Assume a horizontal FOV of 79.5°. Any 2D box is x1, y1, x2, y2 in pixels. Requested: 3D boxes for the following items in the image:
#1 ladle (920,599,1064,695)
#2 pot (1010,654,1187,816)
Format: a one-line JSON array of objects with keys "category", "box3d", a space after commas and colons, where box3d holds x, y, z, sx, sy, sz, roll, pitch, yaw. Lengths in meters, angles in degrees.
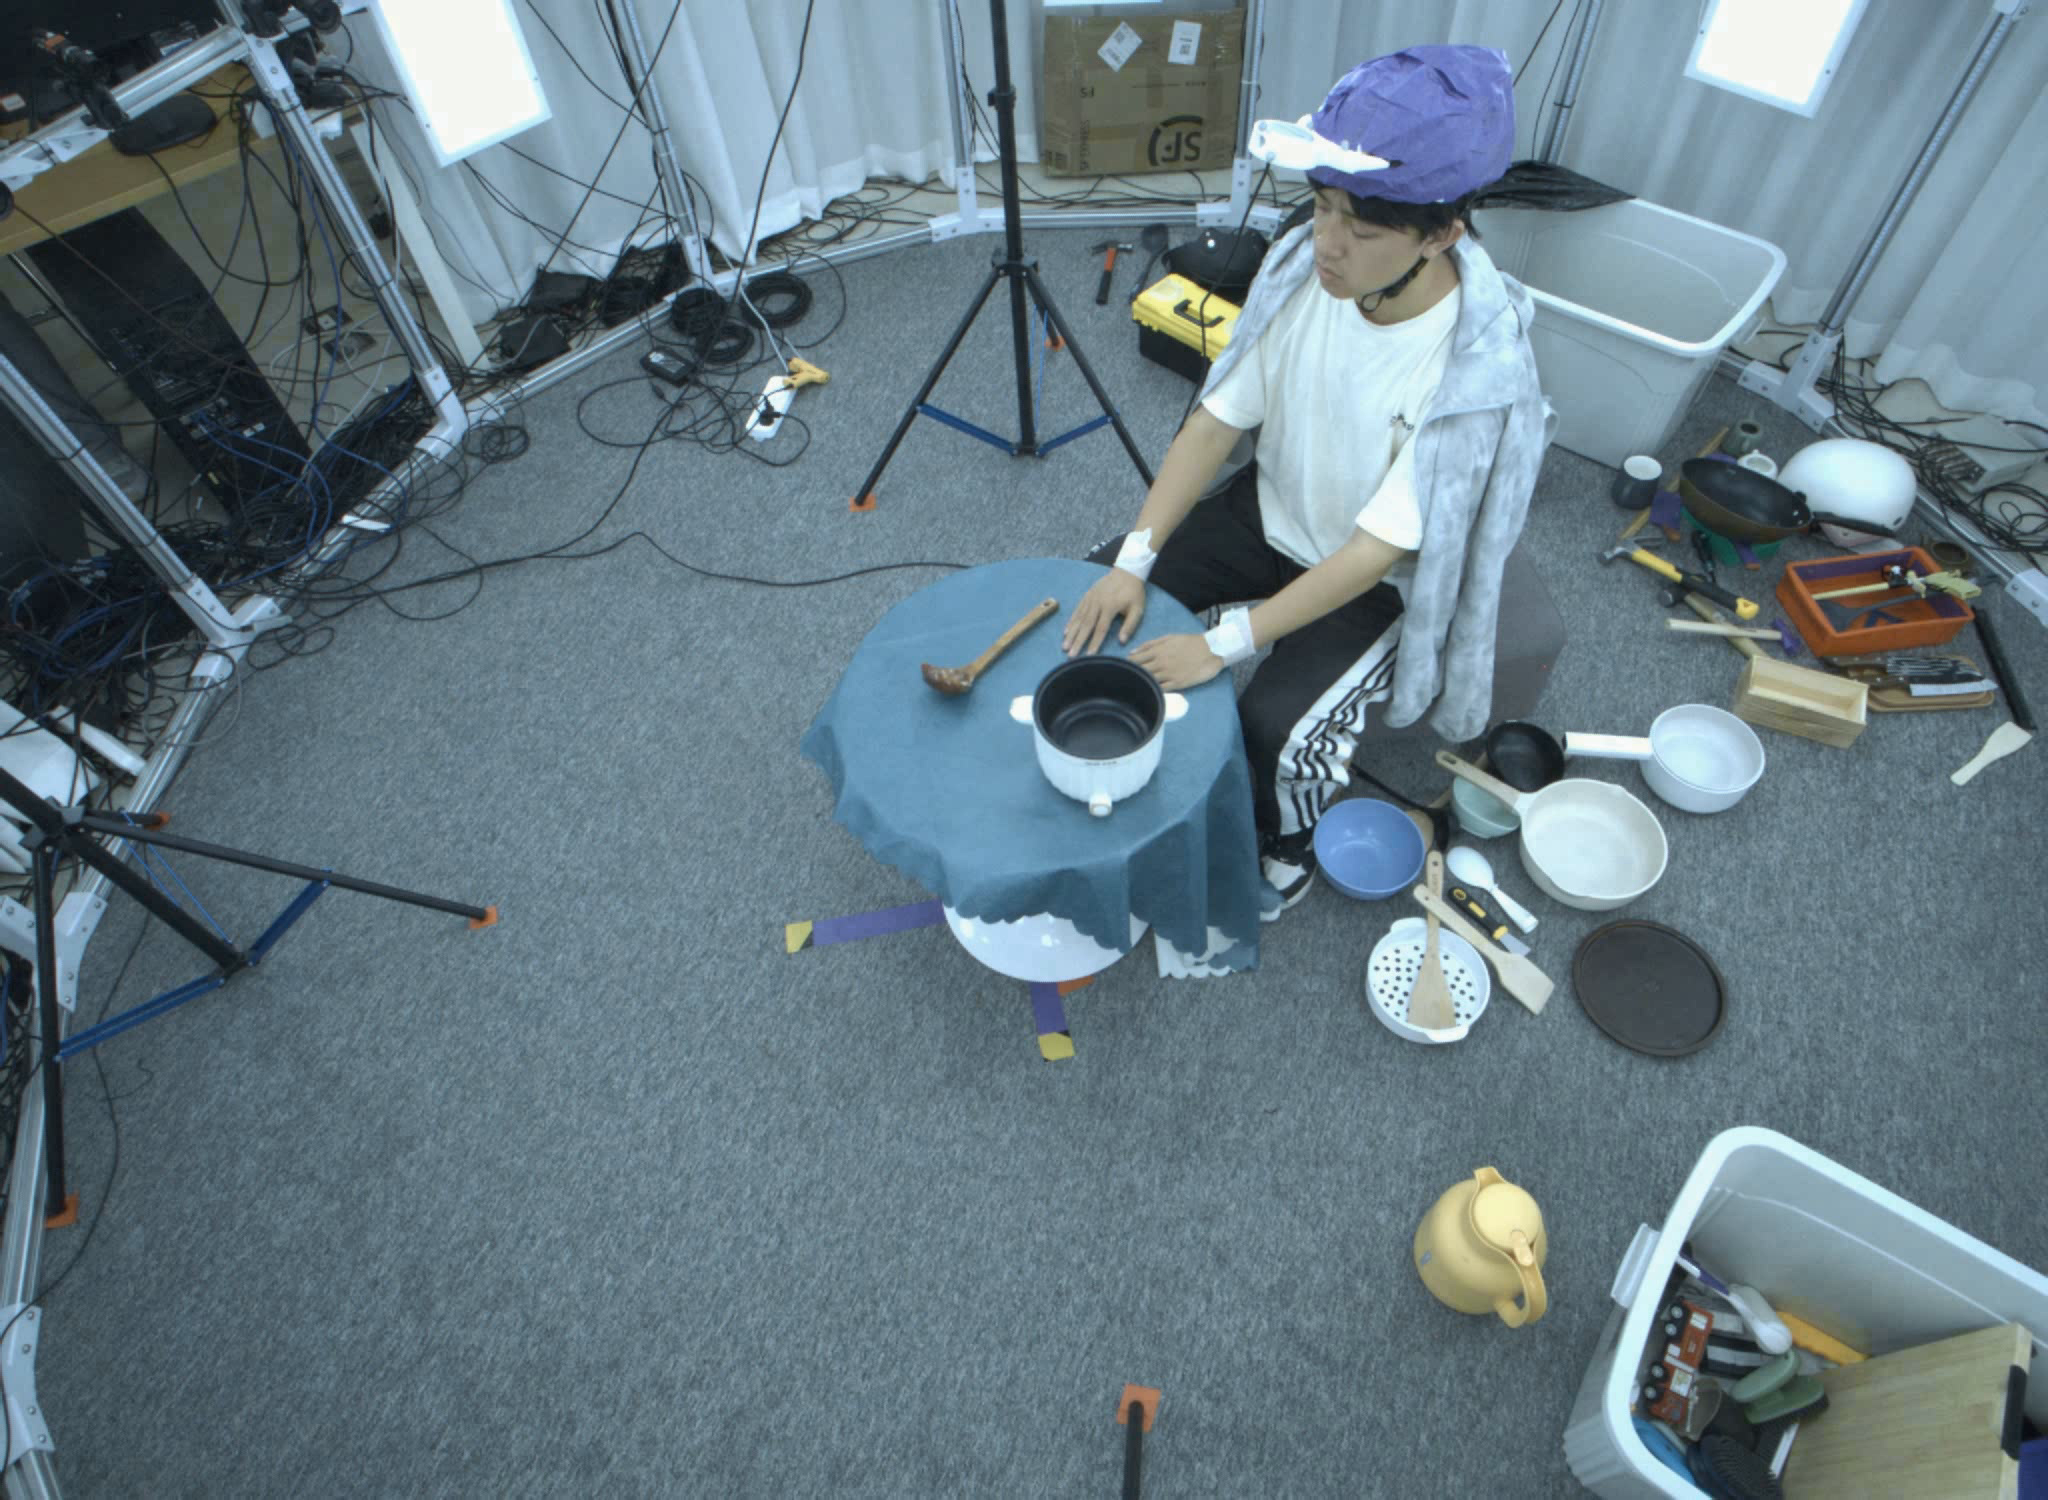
[{"category": "ladle", "box3d": [-0.045, -0.173, 1.865, 0.080, 0.077, 0.276, 36, 64, 27]}, {"category": "pot", "box3d": [0.105, -0.018, 1.713, 0.240, 0.144, 0.188, -2, 51, 2]}]
